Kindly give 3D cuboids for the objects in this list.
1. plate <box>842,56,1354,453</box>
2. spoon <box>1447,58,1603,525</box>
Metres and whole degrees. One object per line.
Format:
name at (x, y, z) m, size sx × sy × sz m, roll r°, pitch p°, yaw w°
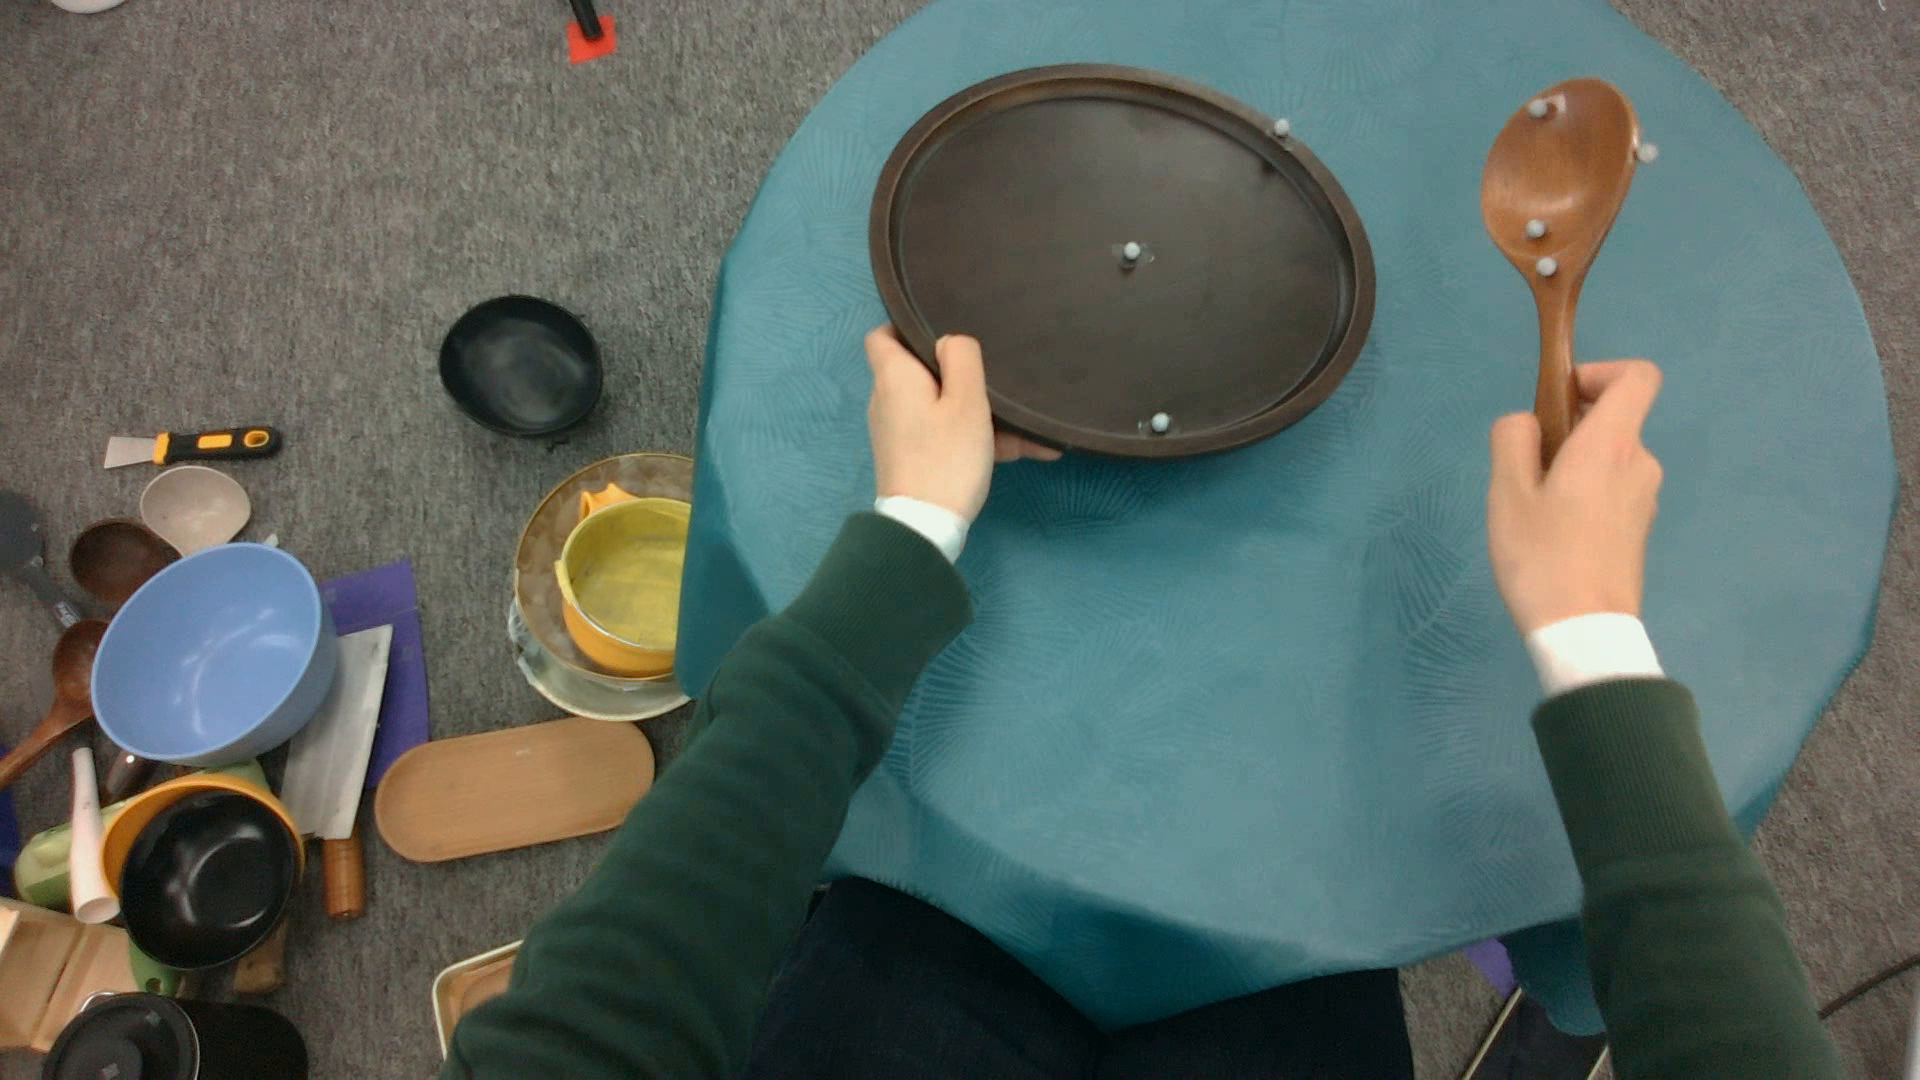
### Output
plate at (0.068, -0.147, 0.682) m, size 0.255 × 0.029 × 0.256 m, roll 3°, pitch 58°, yaw -5°
spoon at (0.247, -0.111, 0.597) m, size 0.017 × 0.075 × 0.216 m, roll 16°, pitch 71°, yaw -31°
